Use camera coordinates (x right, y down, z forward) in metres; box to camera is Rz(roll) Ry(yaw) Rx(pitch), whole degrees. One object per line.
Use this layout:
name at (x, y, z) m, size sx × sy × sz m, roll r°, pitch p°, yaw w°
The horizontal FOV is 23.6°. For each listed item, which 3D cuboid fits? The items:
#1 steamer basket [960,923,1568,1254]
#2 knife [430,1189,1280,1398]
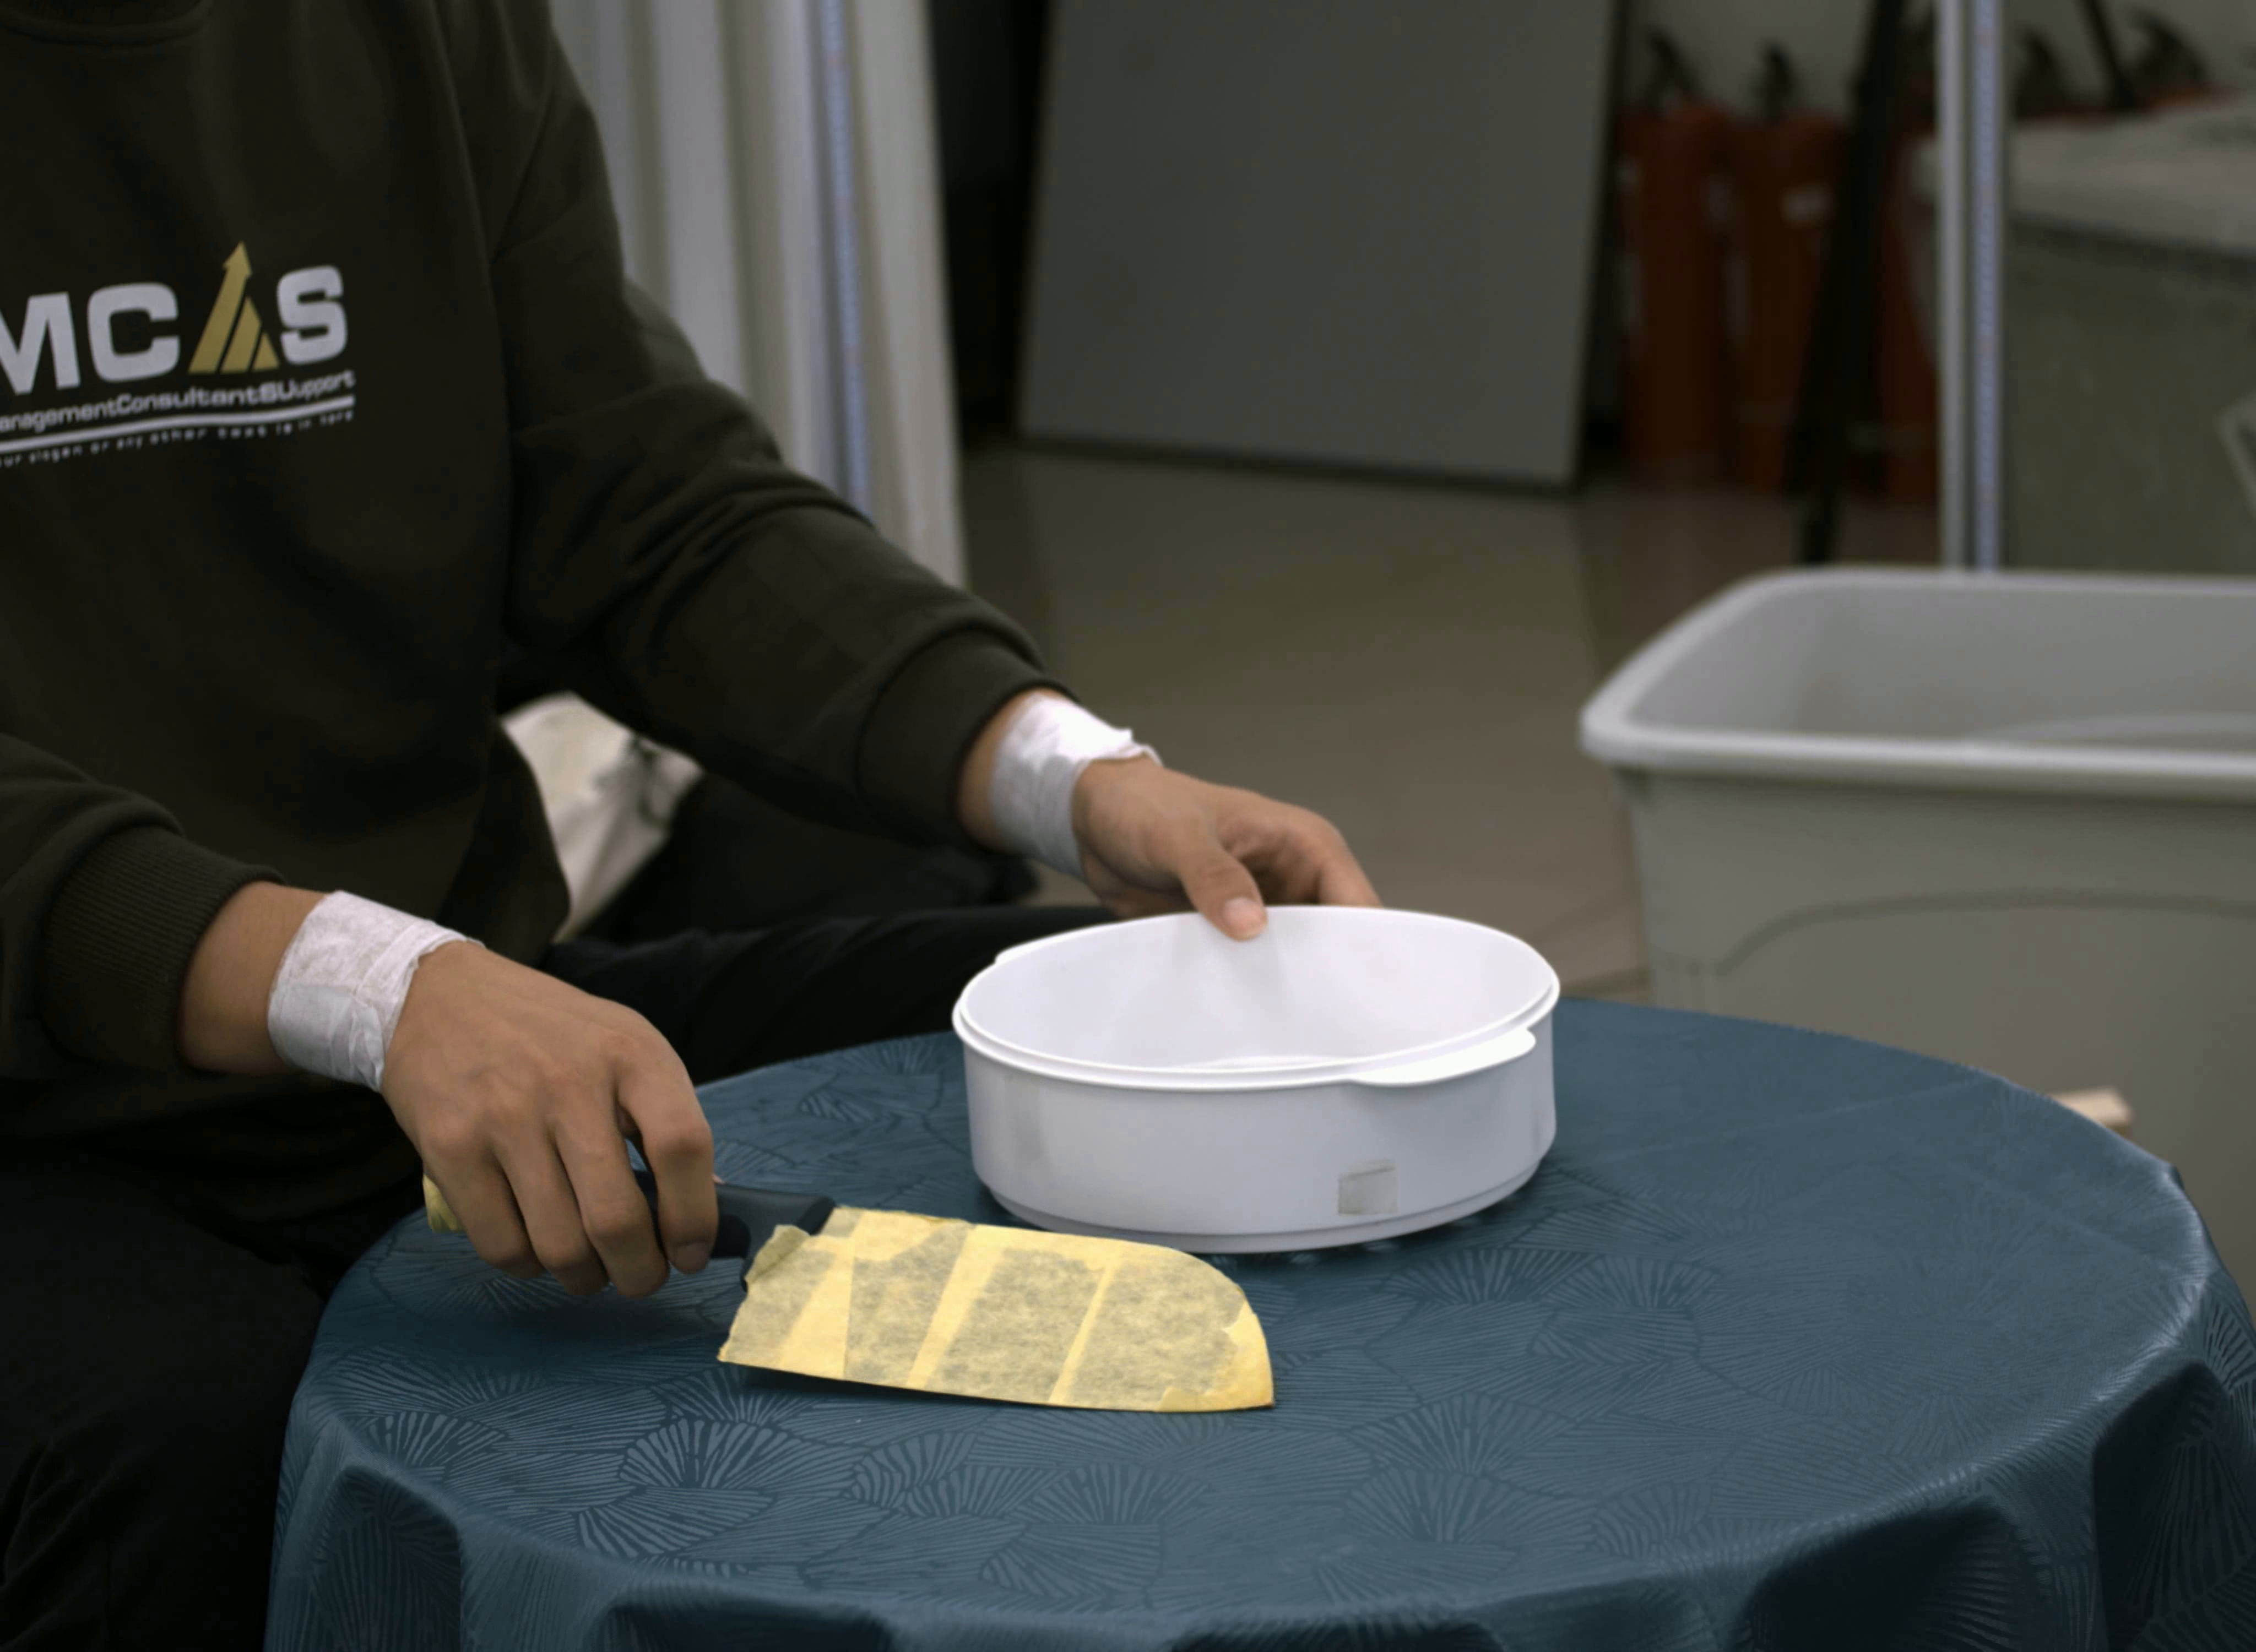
steamer basket at (0.046, 0.086, 1.765) m, size 0.197 × 0.070 × 0.233 m, roll -12°, pitch 14°, yaw -34°
knife at (-0.088, 0.142, 1.631) m, size 0.289 × 0.027 × 0.080 m, roll 5°, pitch 36°, yaw 23°
